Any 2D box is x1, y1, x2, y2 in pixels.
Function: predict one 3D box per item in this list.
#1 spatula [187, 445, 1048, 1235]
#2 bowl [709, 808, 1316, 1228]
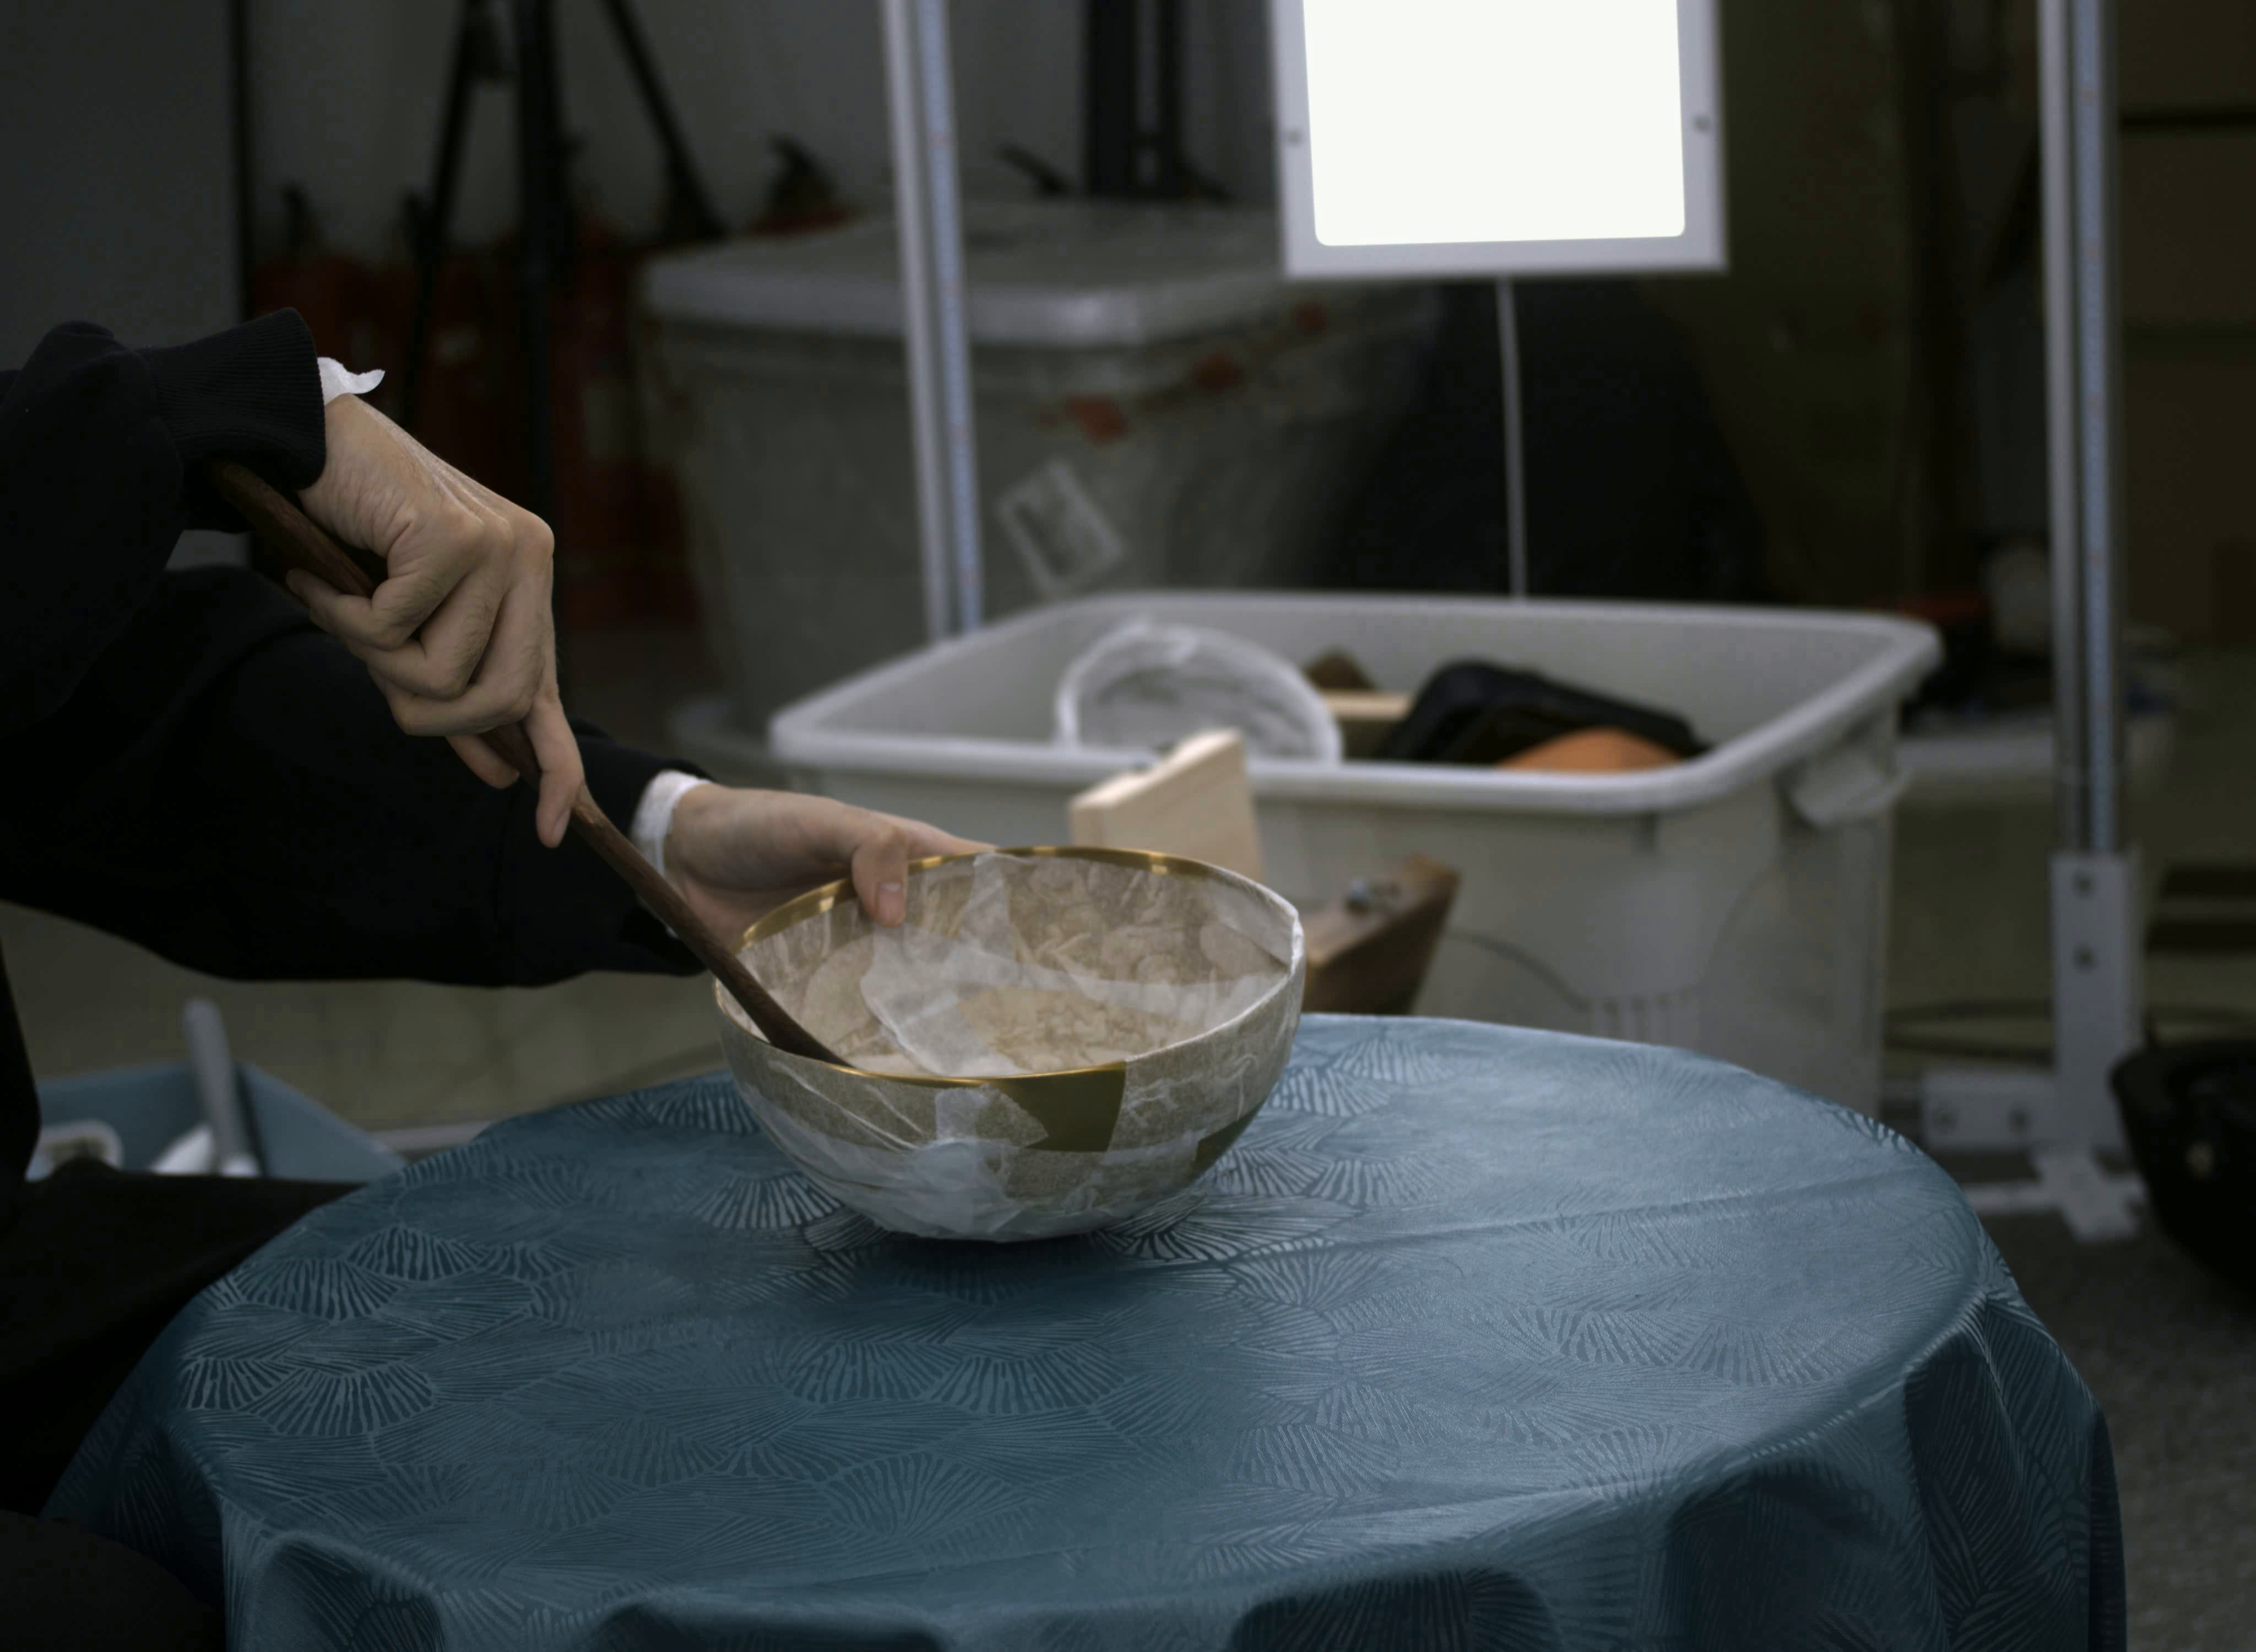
[{"bbox_3d":[-0.165,0.008,1.791,0.015,0.382,0.098,-49,21,-15],"label":"spatula"},{"bbox_3d":[-0.042,0.076,1.877,0.214,0.095,0.214,1,26,-2],"label":"bowl"}]
